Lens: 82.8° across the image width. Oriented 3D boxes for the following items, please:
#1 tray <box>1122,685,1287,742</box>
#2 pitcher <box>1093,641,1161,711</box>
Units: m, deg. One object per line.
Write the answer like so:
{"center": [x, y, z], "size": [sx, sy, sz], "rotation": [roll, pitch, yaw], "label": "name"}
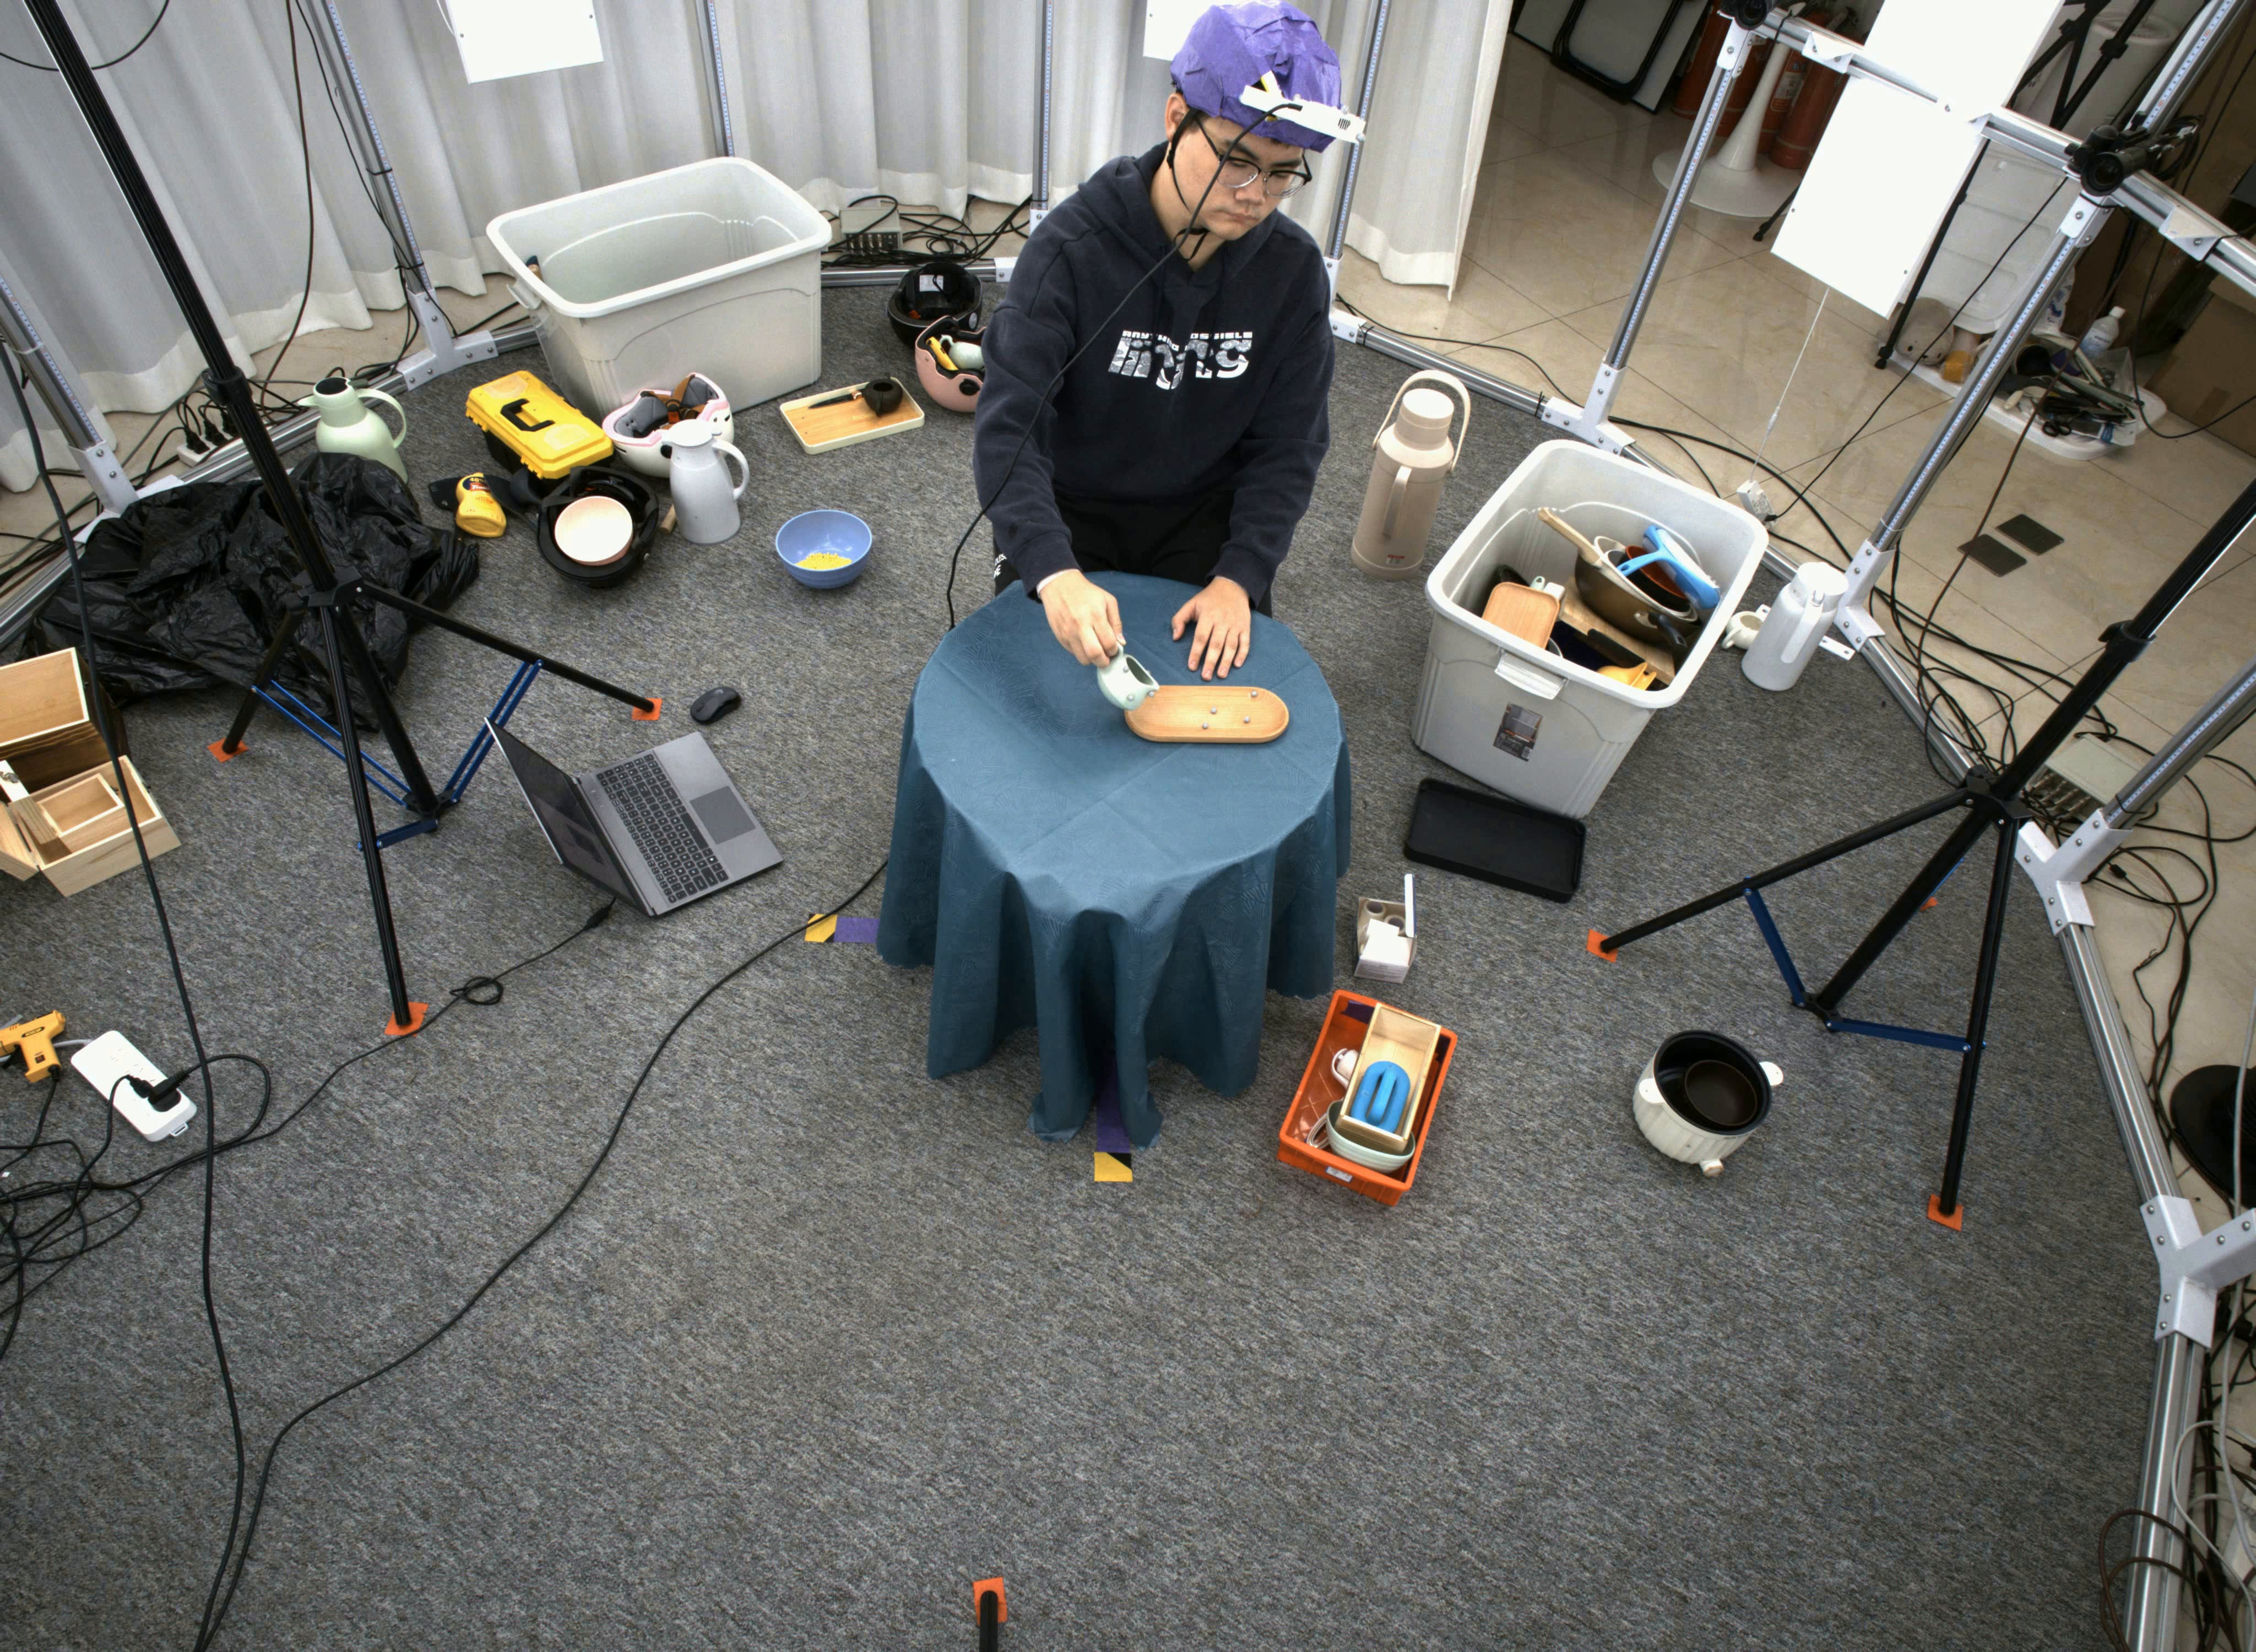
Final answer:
{"center": [0.107, -0.157, 1.800], "size": [0.231, 0.020, 0.104], "rotation": [-1, 48, -3], "label": "tray"}
{"center": [-0.011, -0.203, 1.724], "size": [0.106, 0.060, 0.088], "rotation": [40, 29, -29], "label": "pitcher"}
